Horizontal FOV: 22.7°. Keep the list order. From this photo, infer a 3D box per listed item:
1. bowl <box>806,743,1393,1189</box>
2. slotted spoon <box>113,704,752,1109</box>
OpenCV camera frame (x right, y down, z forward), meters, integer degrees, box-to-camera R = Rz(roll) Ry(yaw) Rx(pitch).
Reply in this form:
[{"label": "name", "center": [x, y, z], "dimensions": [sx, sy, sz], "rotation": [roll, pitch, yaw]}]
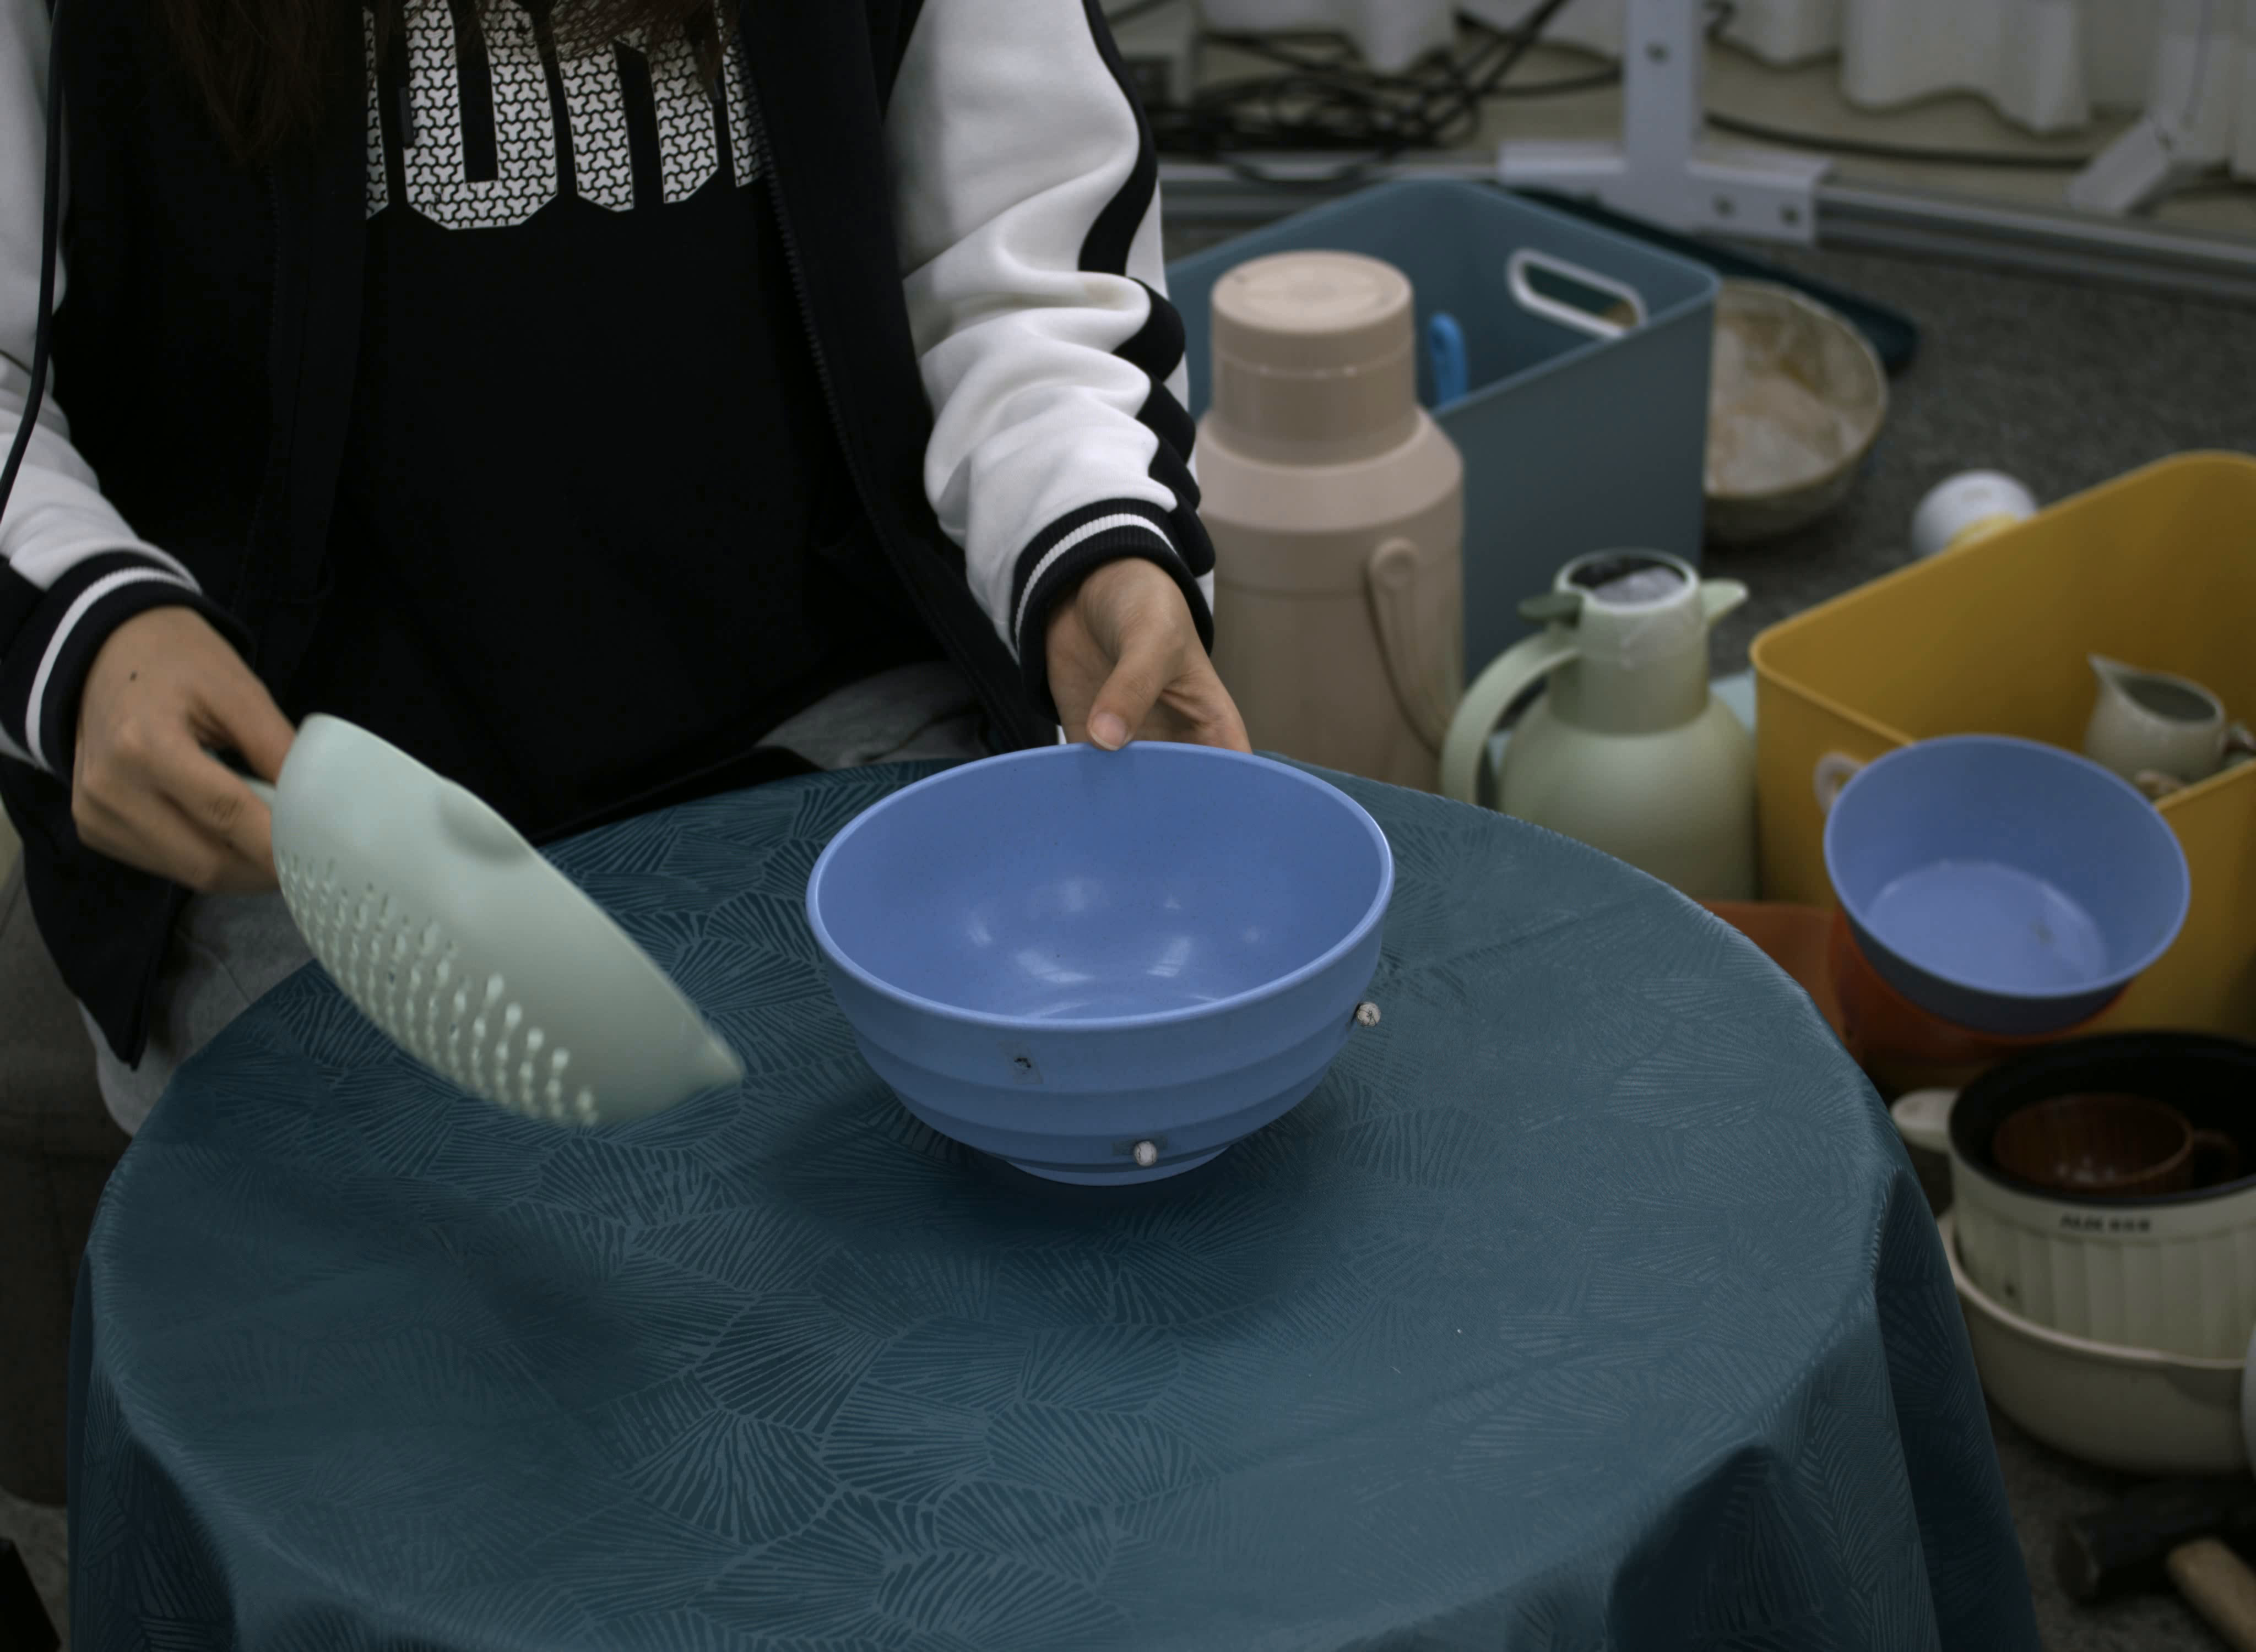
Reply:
[{"label": "bowl", "center": [-0.007, 0.058, 1.884], "dimensions": [0.195, 0.094, 0.199], "rotation": [-3, 27, 2]}, {"label": "slotted spoon", "center": [-0.249, 0.009, 1.819], "dimensions": [0.076, 0.168, 0.359], "rotation": [-46, 31, -7]}]
